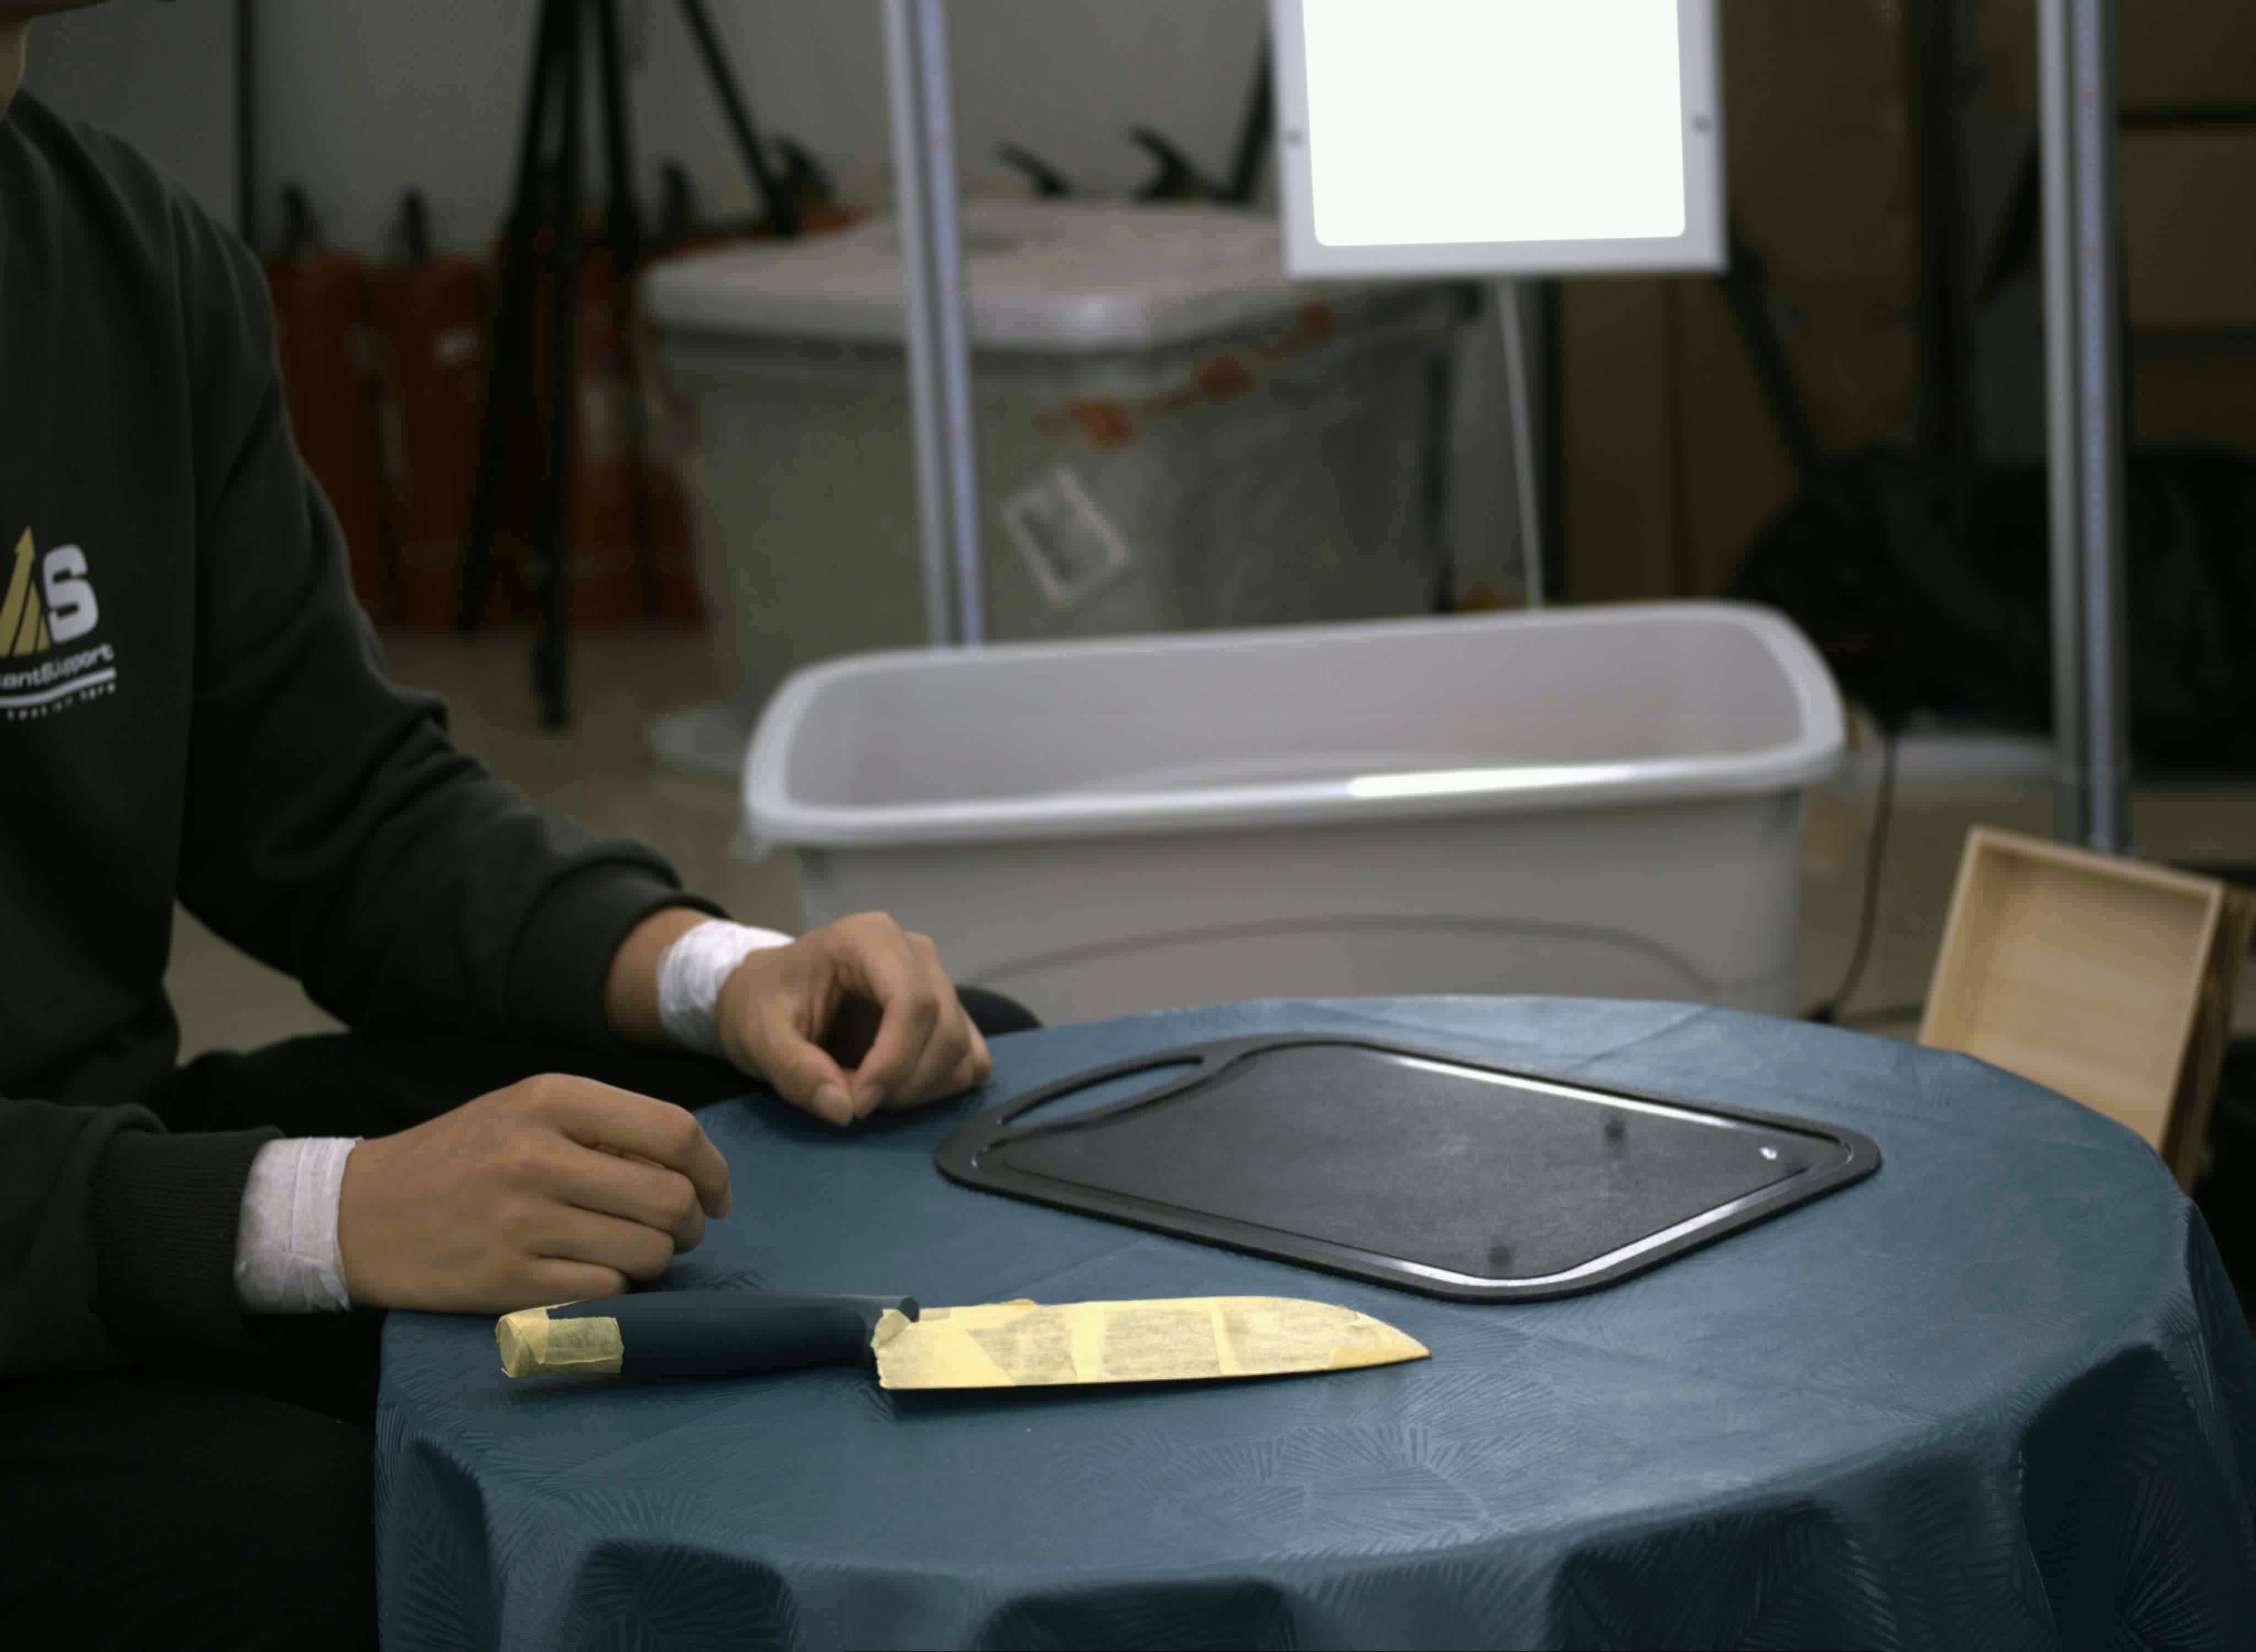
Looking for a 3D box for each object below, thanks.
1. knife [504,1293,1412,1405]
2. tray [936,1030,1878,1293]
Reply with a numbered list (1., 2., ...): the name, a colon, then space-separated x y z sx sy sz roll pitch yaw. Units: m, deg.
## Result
1. knife: -0.054 0.165 1.734 0.289 0.027 0.081 -4 12 3
2. tray: 0.087 0.112 1.916 0.206 0.010 0.332 -17 18 -40
